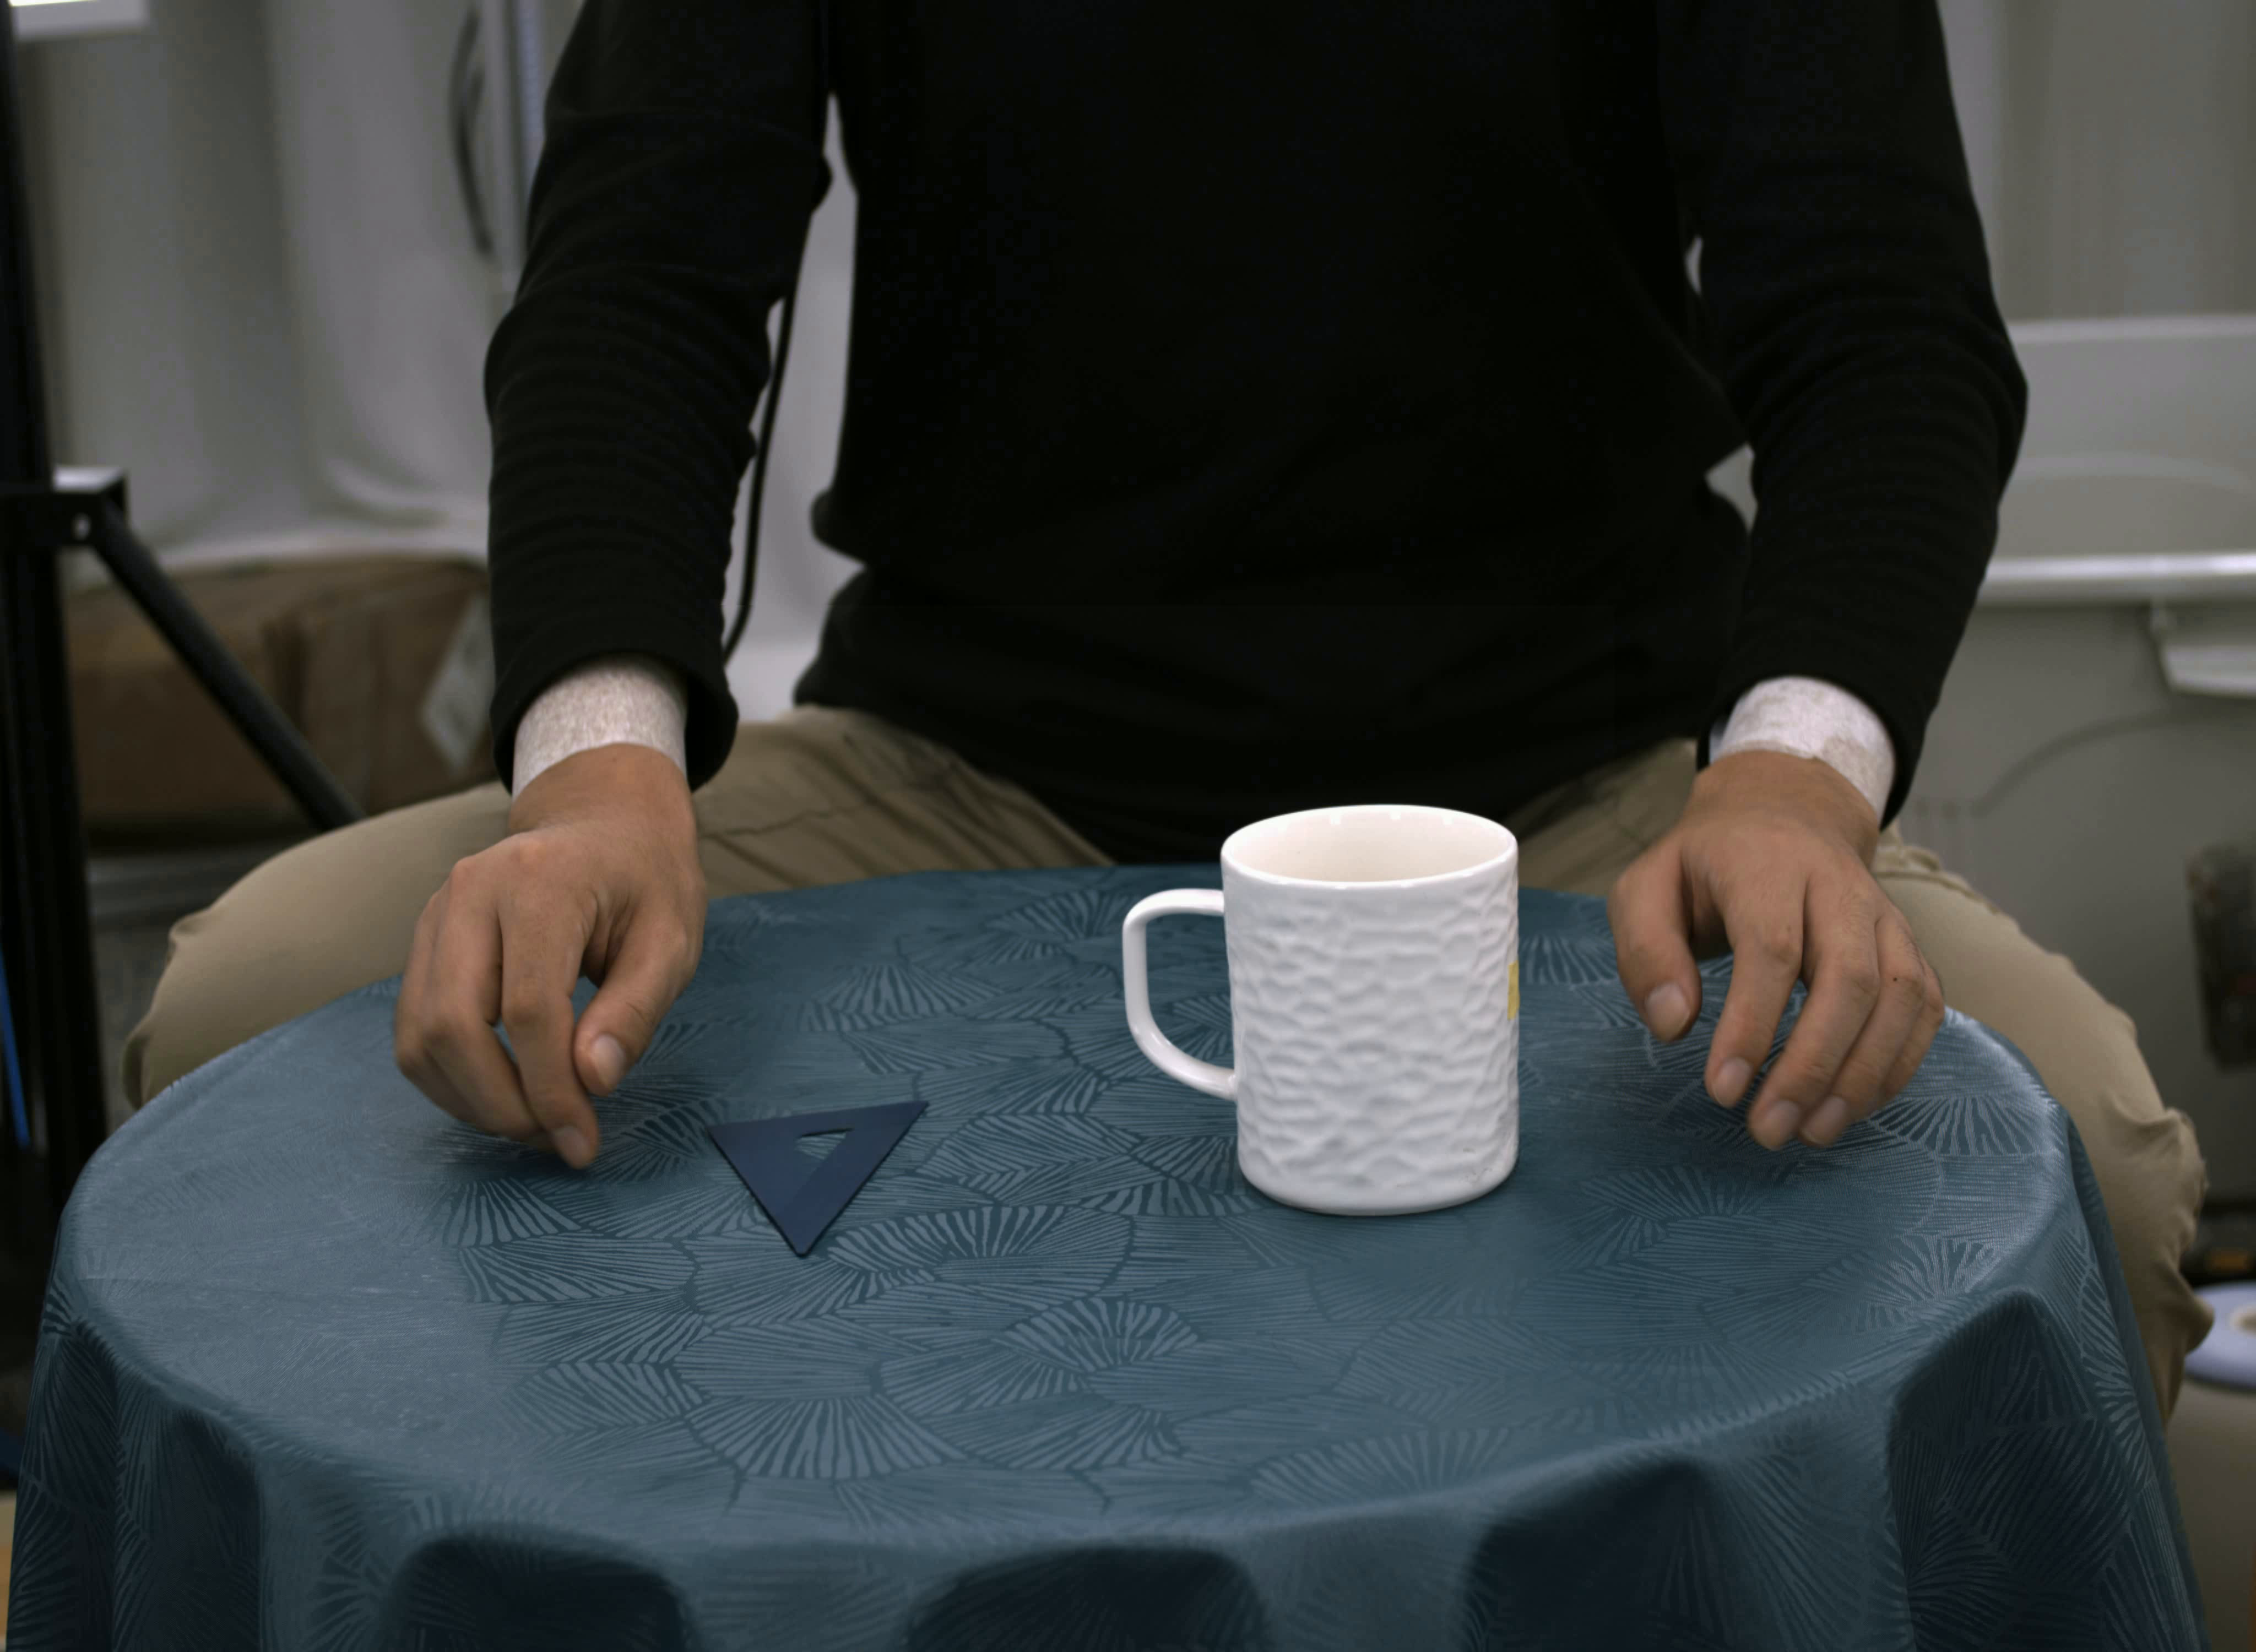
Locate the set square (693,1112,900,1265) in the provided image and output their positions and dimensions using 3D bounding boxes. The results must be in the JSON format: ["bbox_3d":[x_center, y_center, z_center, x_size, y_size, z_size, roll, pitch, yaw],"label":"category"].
[{"bbox_3d":[-0.114,0.105,1.582,0.062,0.006,0.131,2,17,18],"label":"set square"}]

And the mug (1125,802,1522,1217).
[{"bbox_3d":[0.057,0.053,1.554,0.119,0.102,0.084,2,16,16],"label":"mug"}]
